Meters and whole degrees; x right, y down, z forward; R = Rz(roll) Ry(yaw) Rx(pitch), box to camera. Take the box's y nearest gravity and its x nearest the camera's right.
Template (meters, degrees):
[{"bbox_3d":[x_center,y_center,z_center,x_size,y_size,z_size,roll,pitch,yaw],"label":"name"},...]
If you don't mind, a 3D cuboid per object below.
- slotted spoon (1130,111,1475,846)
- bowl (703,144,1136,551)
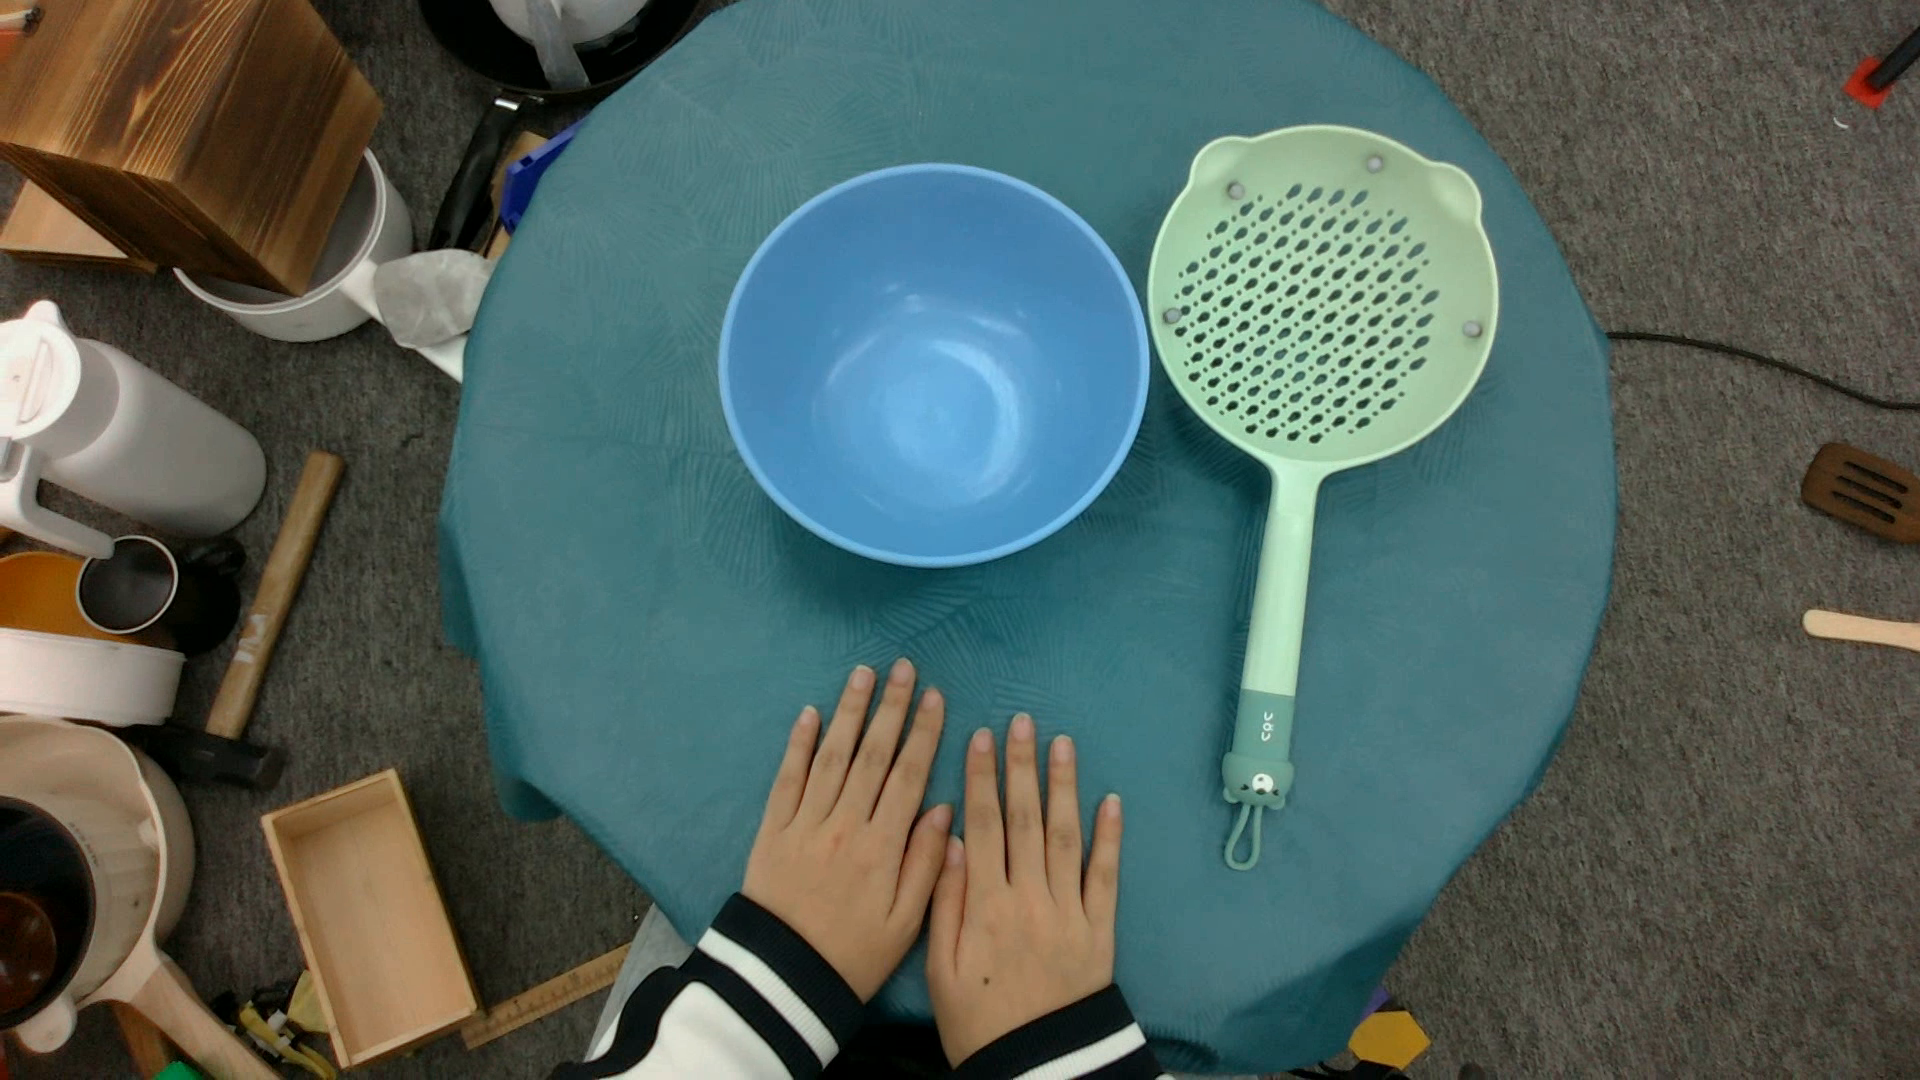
[{"bbox_3d":[0.154,-0.031,0.677,0.169,0.075,0.359,8,77,2],"label":"slotted spoon"},{"bbox_3d":[-0.018,-0.080,0.668,0.196,0.095,0.197,0,76,-1],"label":"bowl"}]
